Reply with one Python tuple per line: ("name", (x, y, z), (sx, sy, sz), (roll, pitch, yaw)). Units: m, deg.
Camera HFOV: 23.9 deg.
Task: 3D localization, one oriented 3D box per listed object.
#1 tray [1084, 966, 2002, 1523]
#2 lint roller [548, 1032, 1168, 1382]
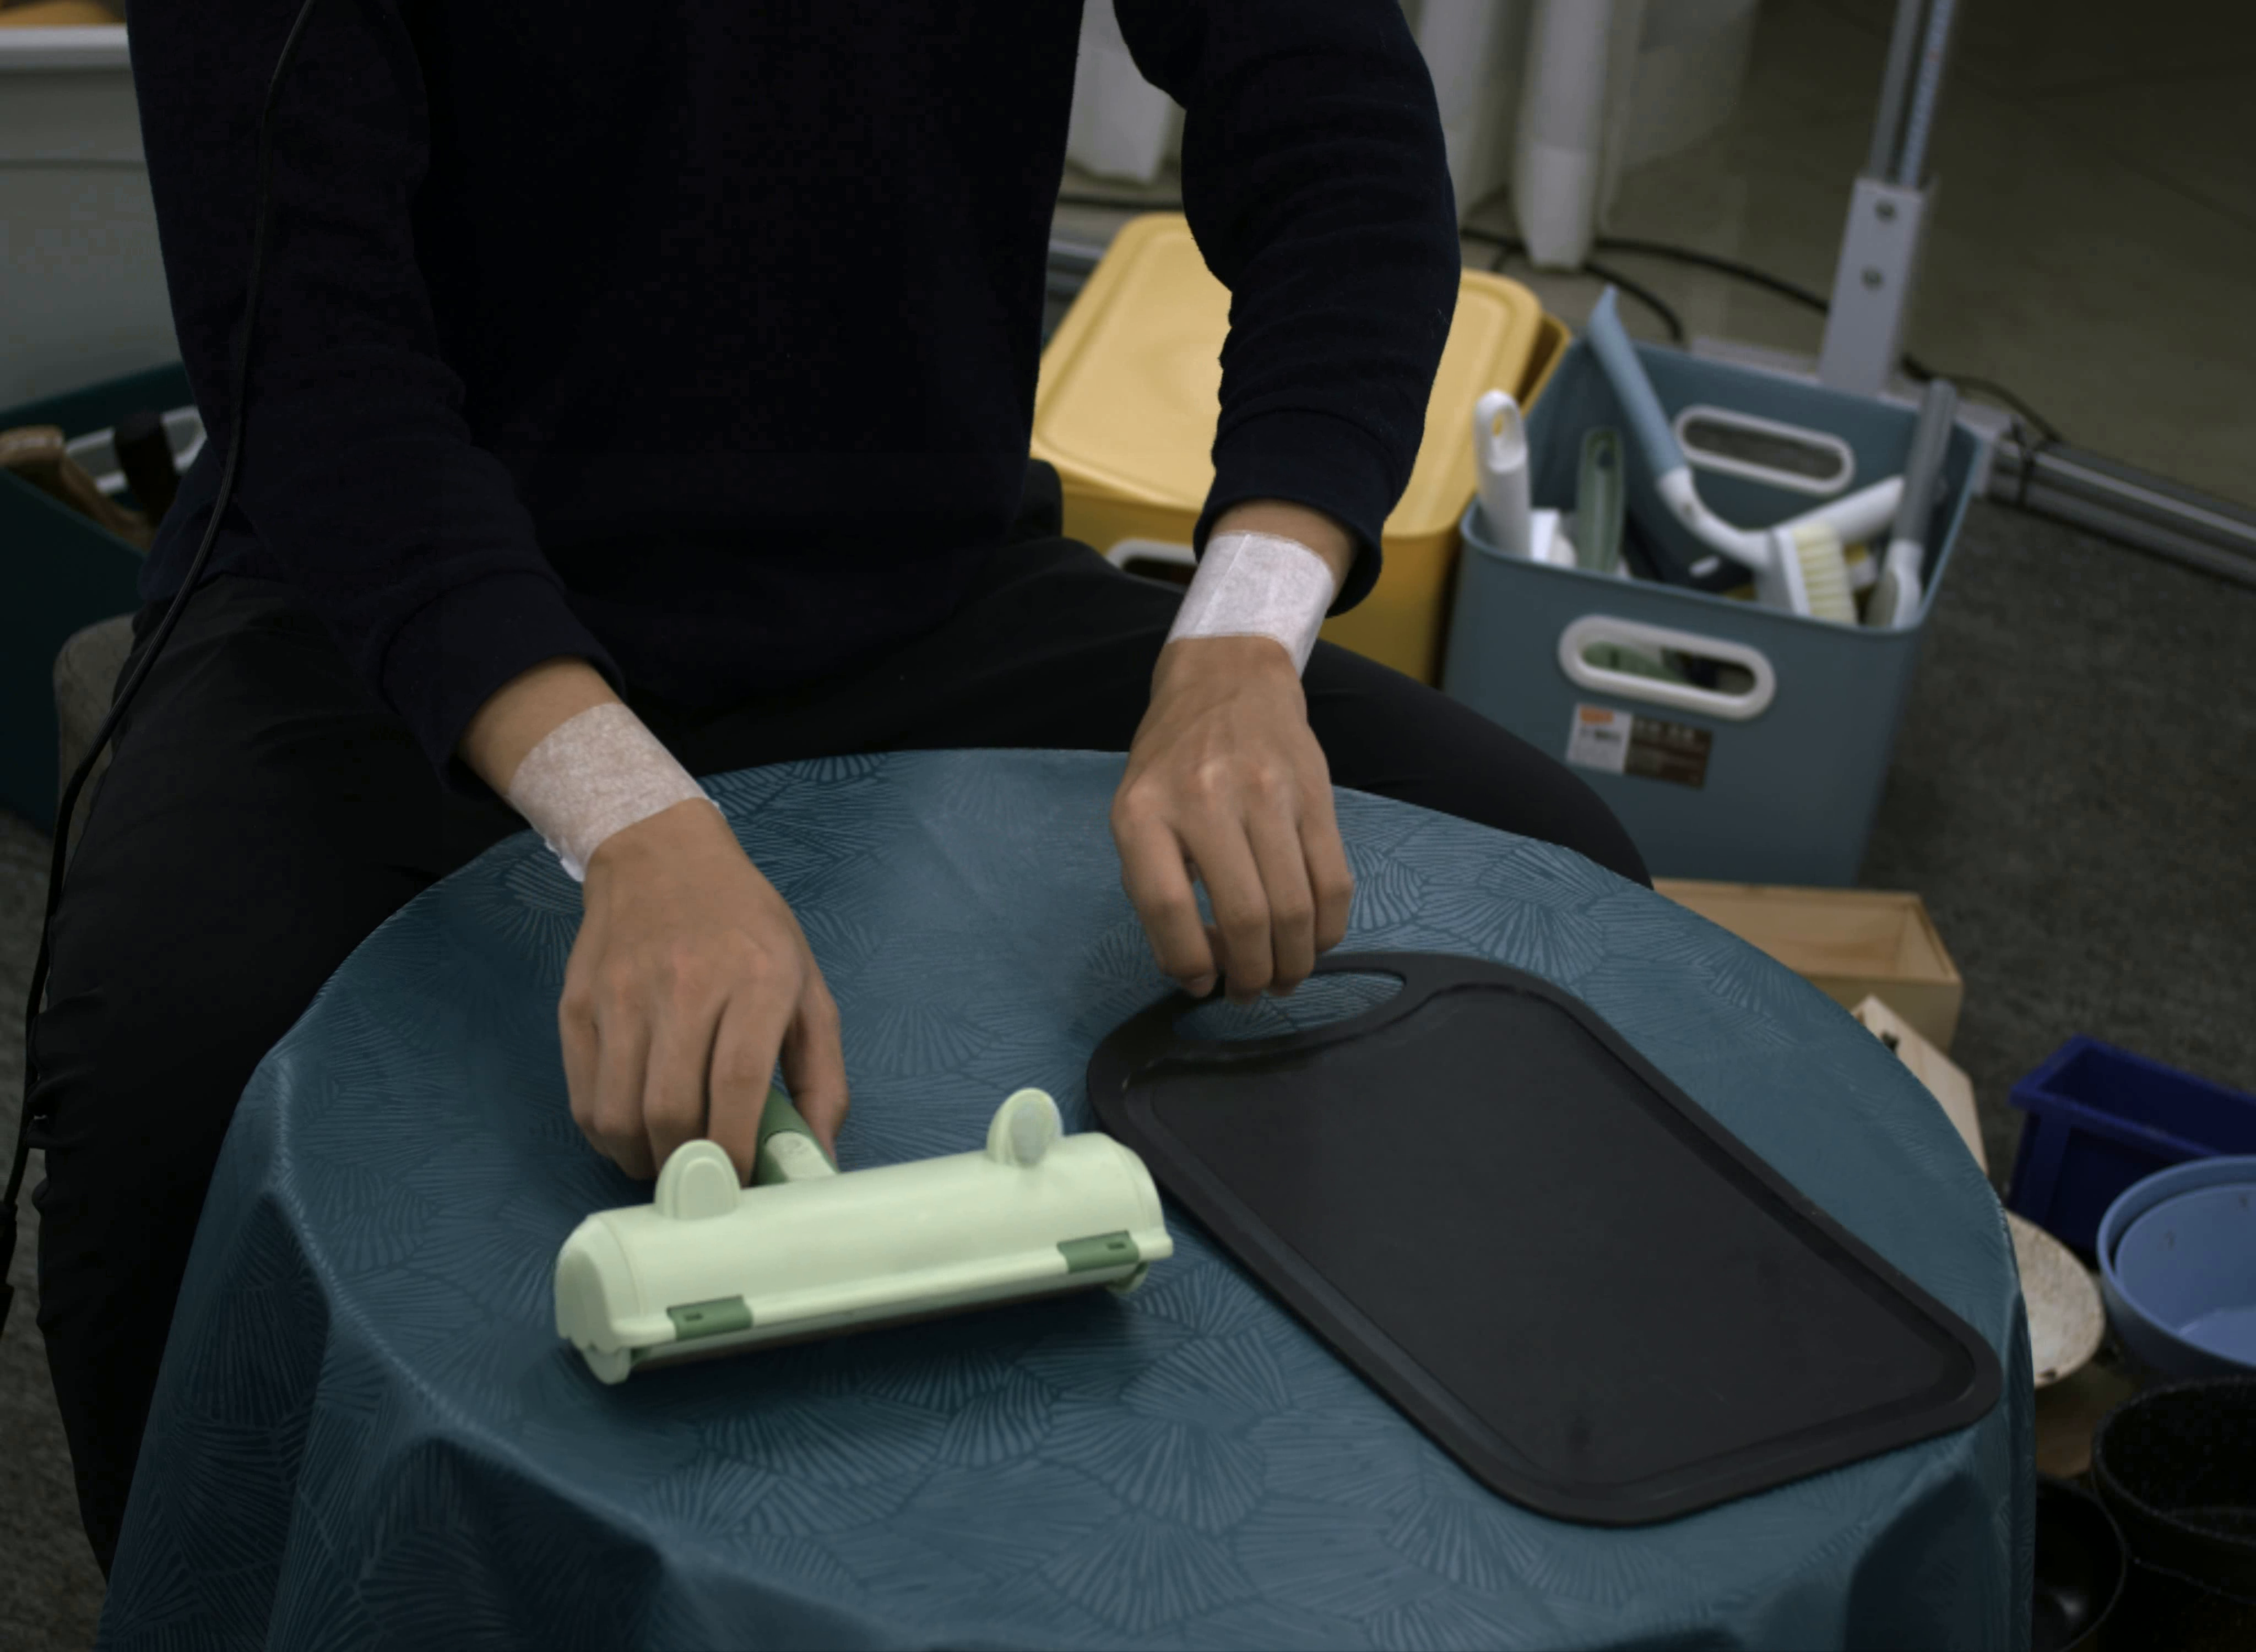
("tray", (0.131, 0.131, 1.804), (0.210, 0.010, 0.328), (-11, 34, -31))
("lint roller", (-0.109, 0.100, 1.731), (0.197, 0.082, 0.185), (-7, 37, -27))
